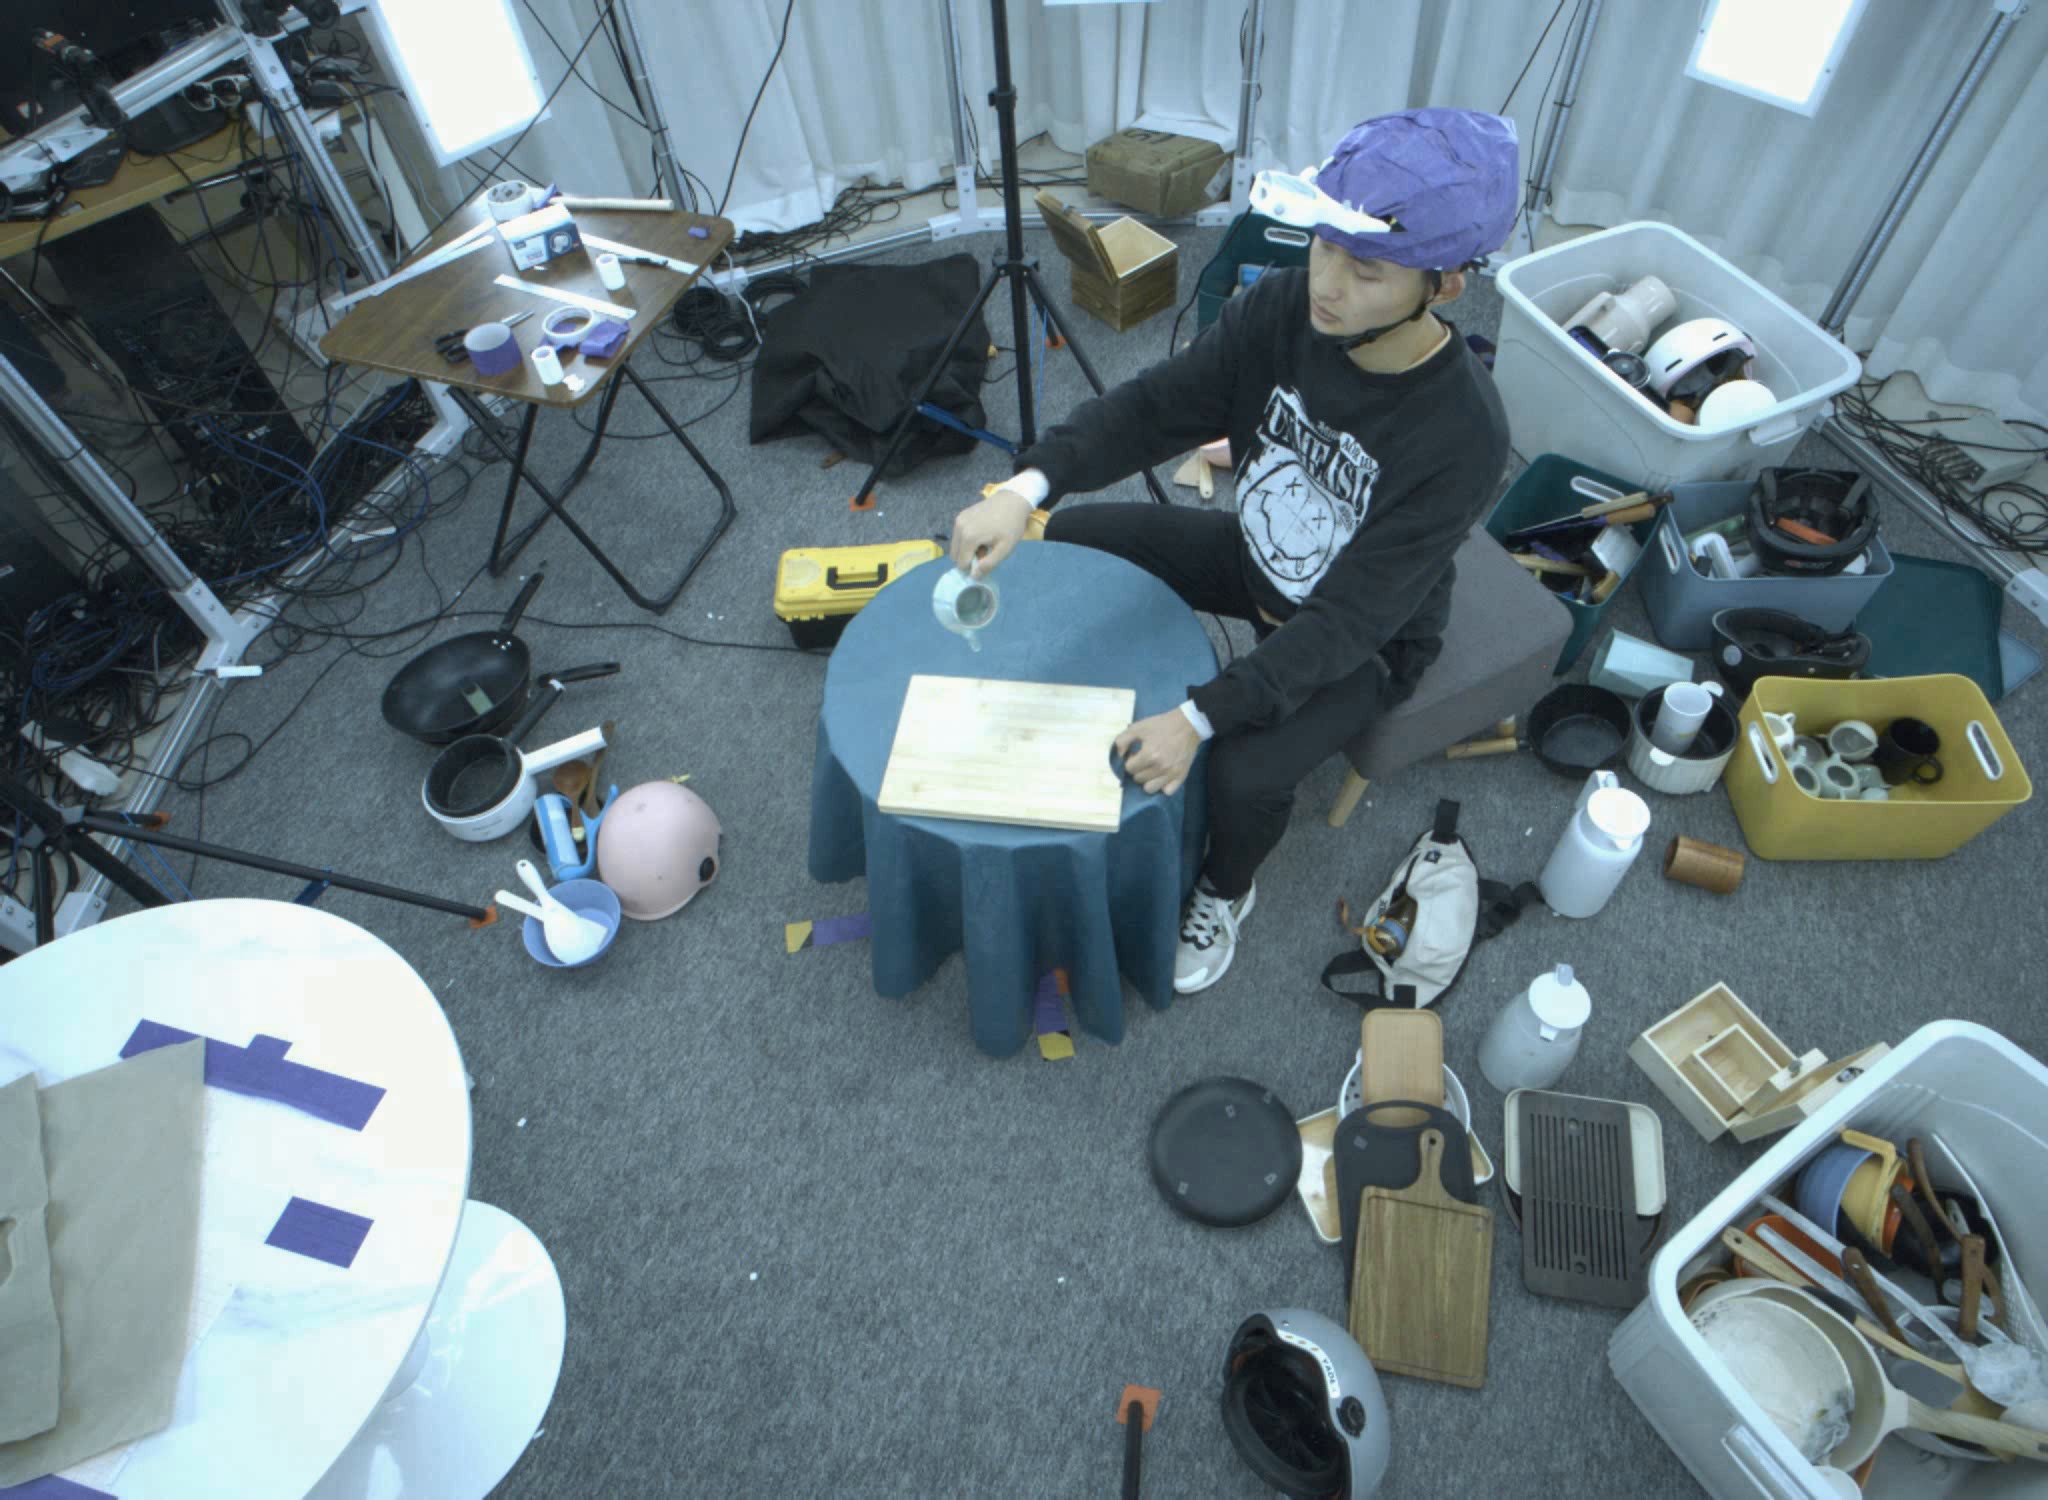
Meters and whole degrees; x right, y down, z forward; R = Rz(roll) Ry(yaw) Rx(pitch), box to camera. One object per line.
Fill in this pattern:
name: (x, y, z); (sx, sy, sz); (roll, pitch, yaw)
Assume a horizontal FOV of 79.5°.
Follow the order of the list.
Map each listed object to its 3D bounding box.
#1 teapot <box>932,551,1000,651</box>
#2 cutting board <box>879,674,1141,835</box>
teapot: (-0.076, -0.207, 1.673); (0.097, 0.138, 0.060); (-11, 26, -18)
cutting board: (-0.015, 0.001, 1.768); (0.347, 0.024, 0.249); (4, 55, 6)
